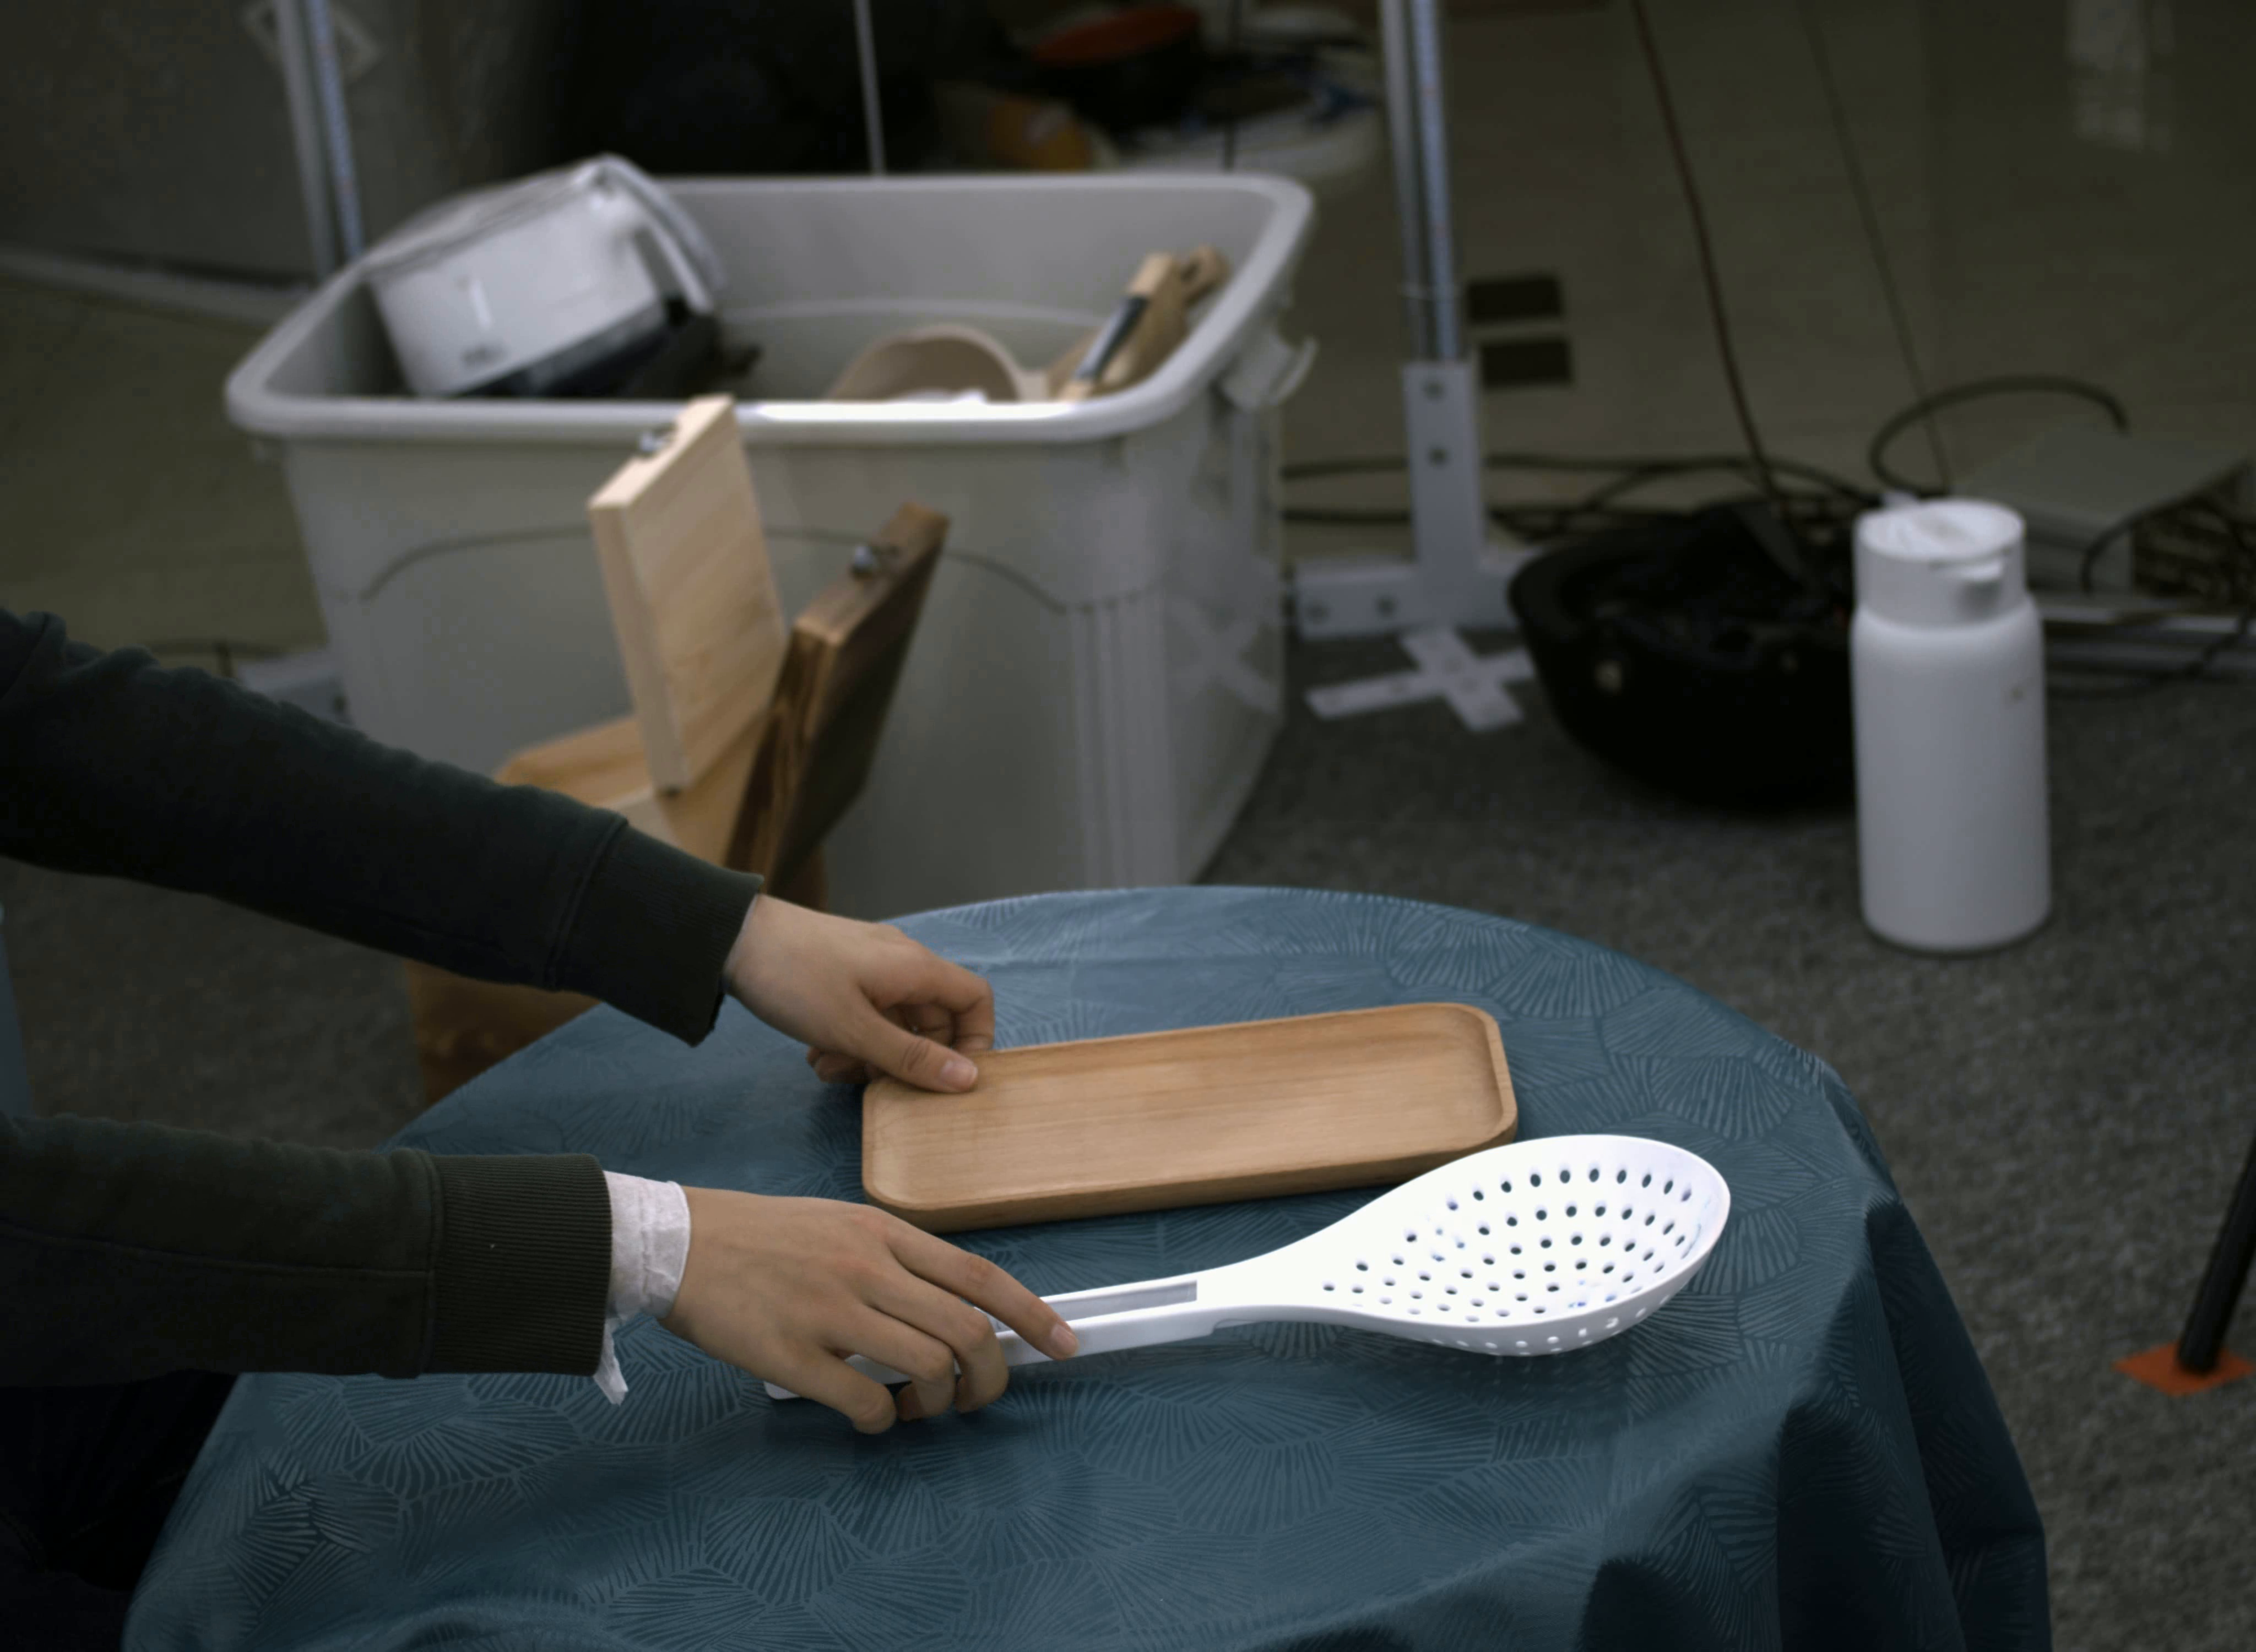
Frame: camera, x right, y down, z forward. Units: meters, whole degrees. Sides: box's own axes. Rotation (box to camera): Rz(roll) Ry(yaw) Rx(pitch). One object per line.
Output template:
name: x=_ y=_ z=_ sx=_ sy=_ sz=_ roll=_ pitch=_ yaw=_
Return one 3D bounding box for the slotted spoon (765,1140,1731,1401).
slotted spoon: x=0.041 y=0.168 z=2.026 sx=0.349 sy=0.046 sz=0.134 roll=-5 pitch=23 yaw=4

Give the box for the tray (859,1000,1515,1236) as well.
tray: x=0.021 y=0.113 z=2.185 sx=0.250 sy=0.023 sz=0.129 roll=-7 pitch=23 yaw=1
